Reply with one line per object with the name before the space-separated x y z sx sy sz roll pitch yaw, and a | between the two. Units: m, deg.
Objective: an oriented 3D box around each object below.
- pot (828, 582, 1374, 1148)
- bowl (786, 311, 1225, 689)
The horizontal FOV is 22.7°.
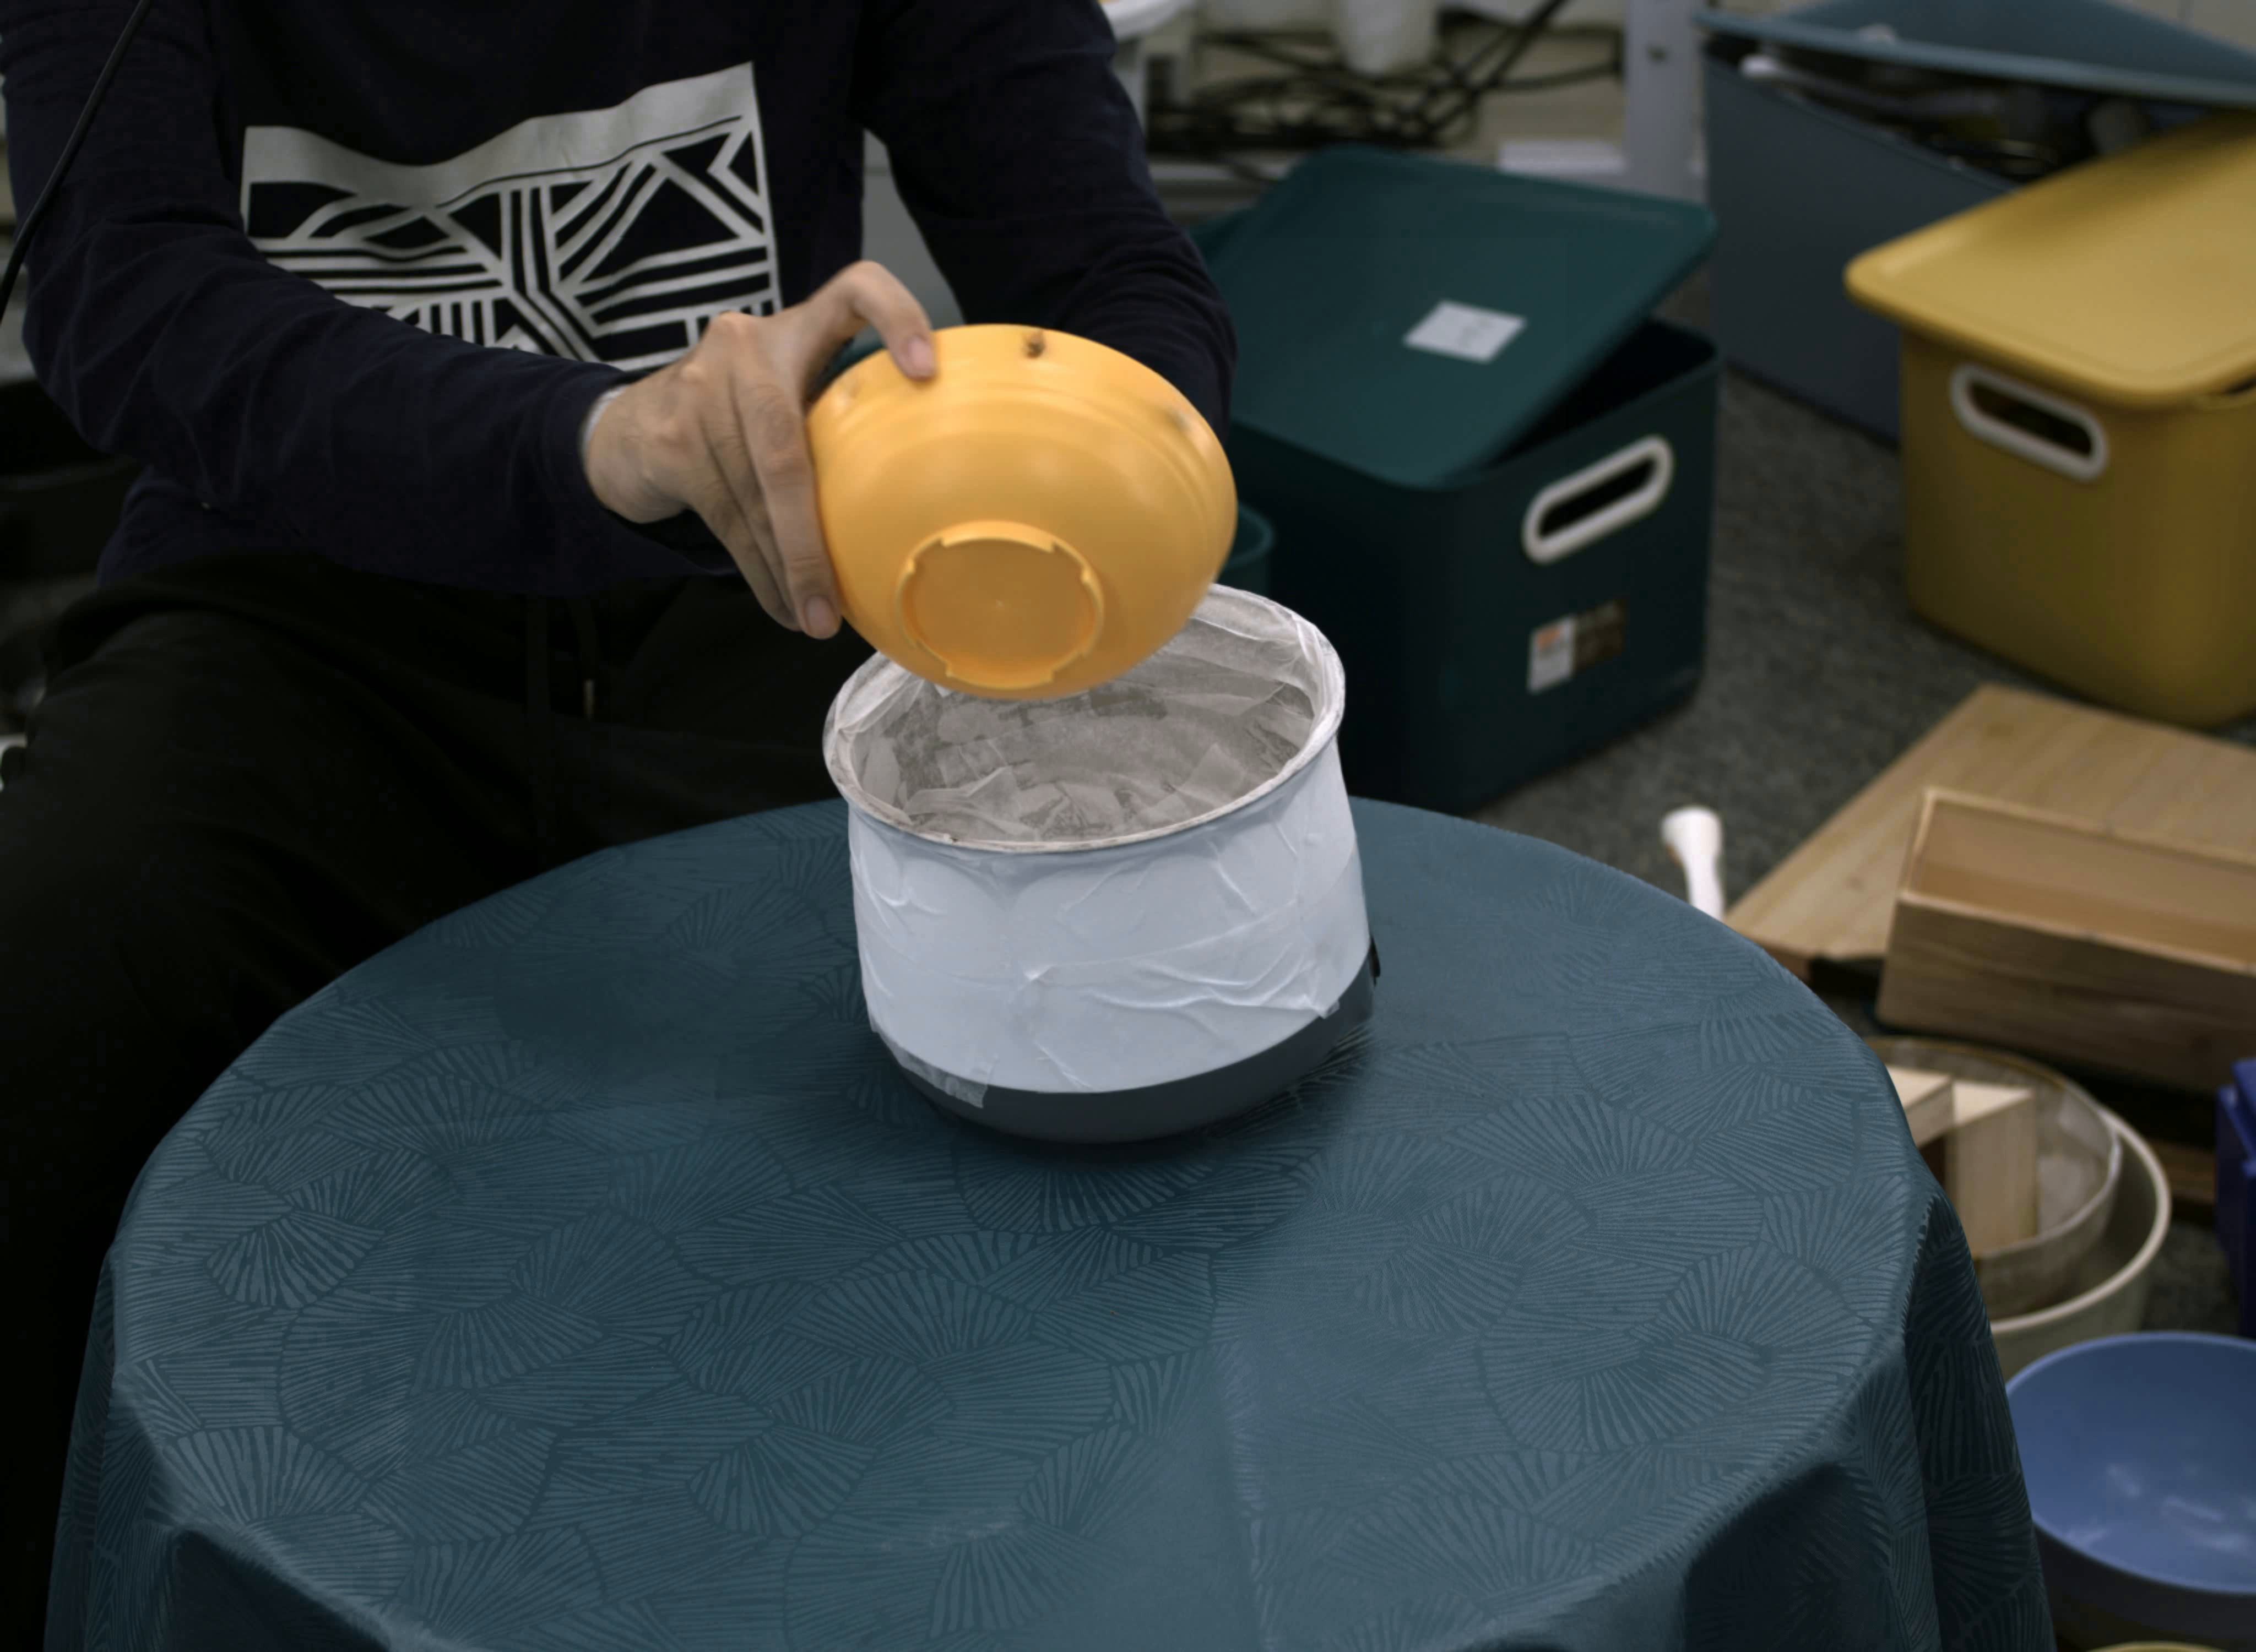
pot | -0.009 0.000 1.933 0.178 0.135 0.237 -5 31 -2
bowl | -0.043 -0.091 1.807 0.144 0.143 0.061 1 43 7
